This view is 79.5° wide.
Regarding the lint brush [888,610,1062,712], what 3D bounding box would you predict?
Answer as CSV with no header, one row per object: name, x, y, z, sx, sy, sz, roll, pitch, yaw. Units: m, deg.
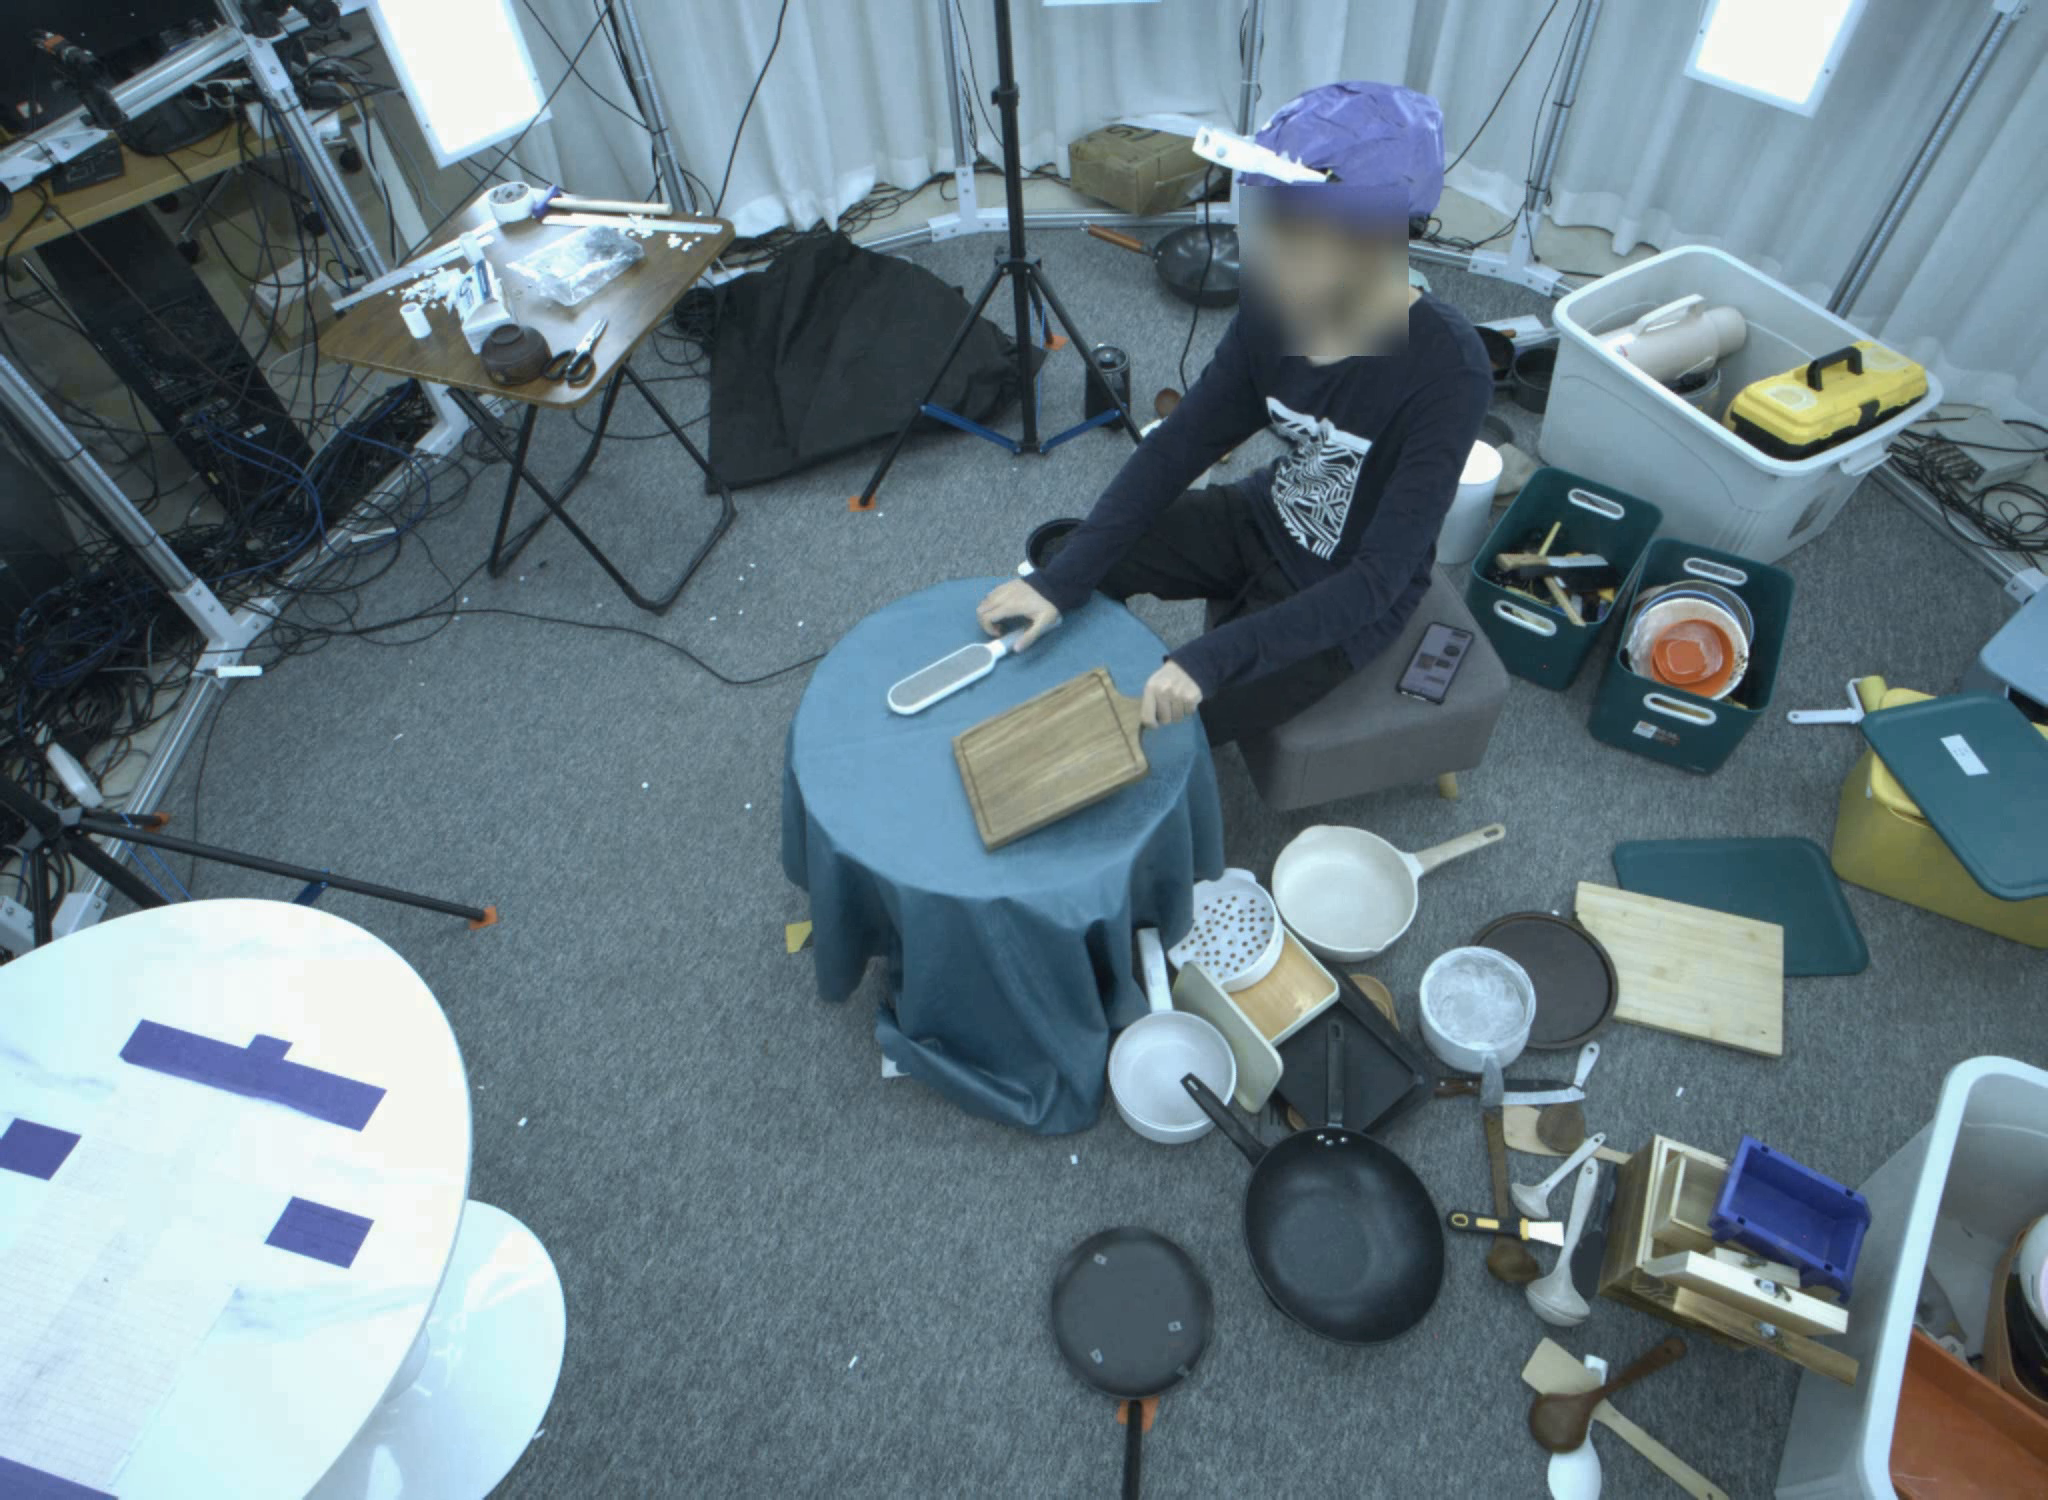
lint brush,-0.071,-0.139,1.880,0.311,0.021,0.059,-29,53,-18

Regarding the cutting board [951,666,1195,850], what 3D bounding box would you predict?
cutting board,0.077,-0.013,1.724,0.351,0.023,0.197,-26,55,6
